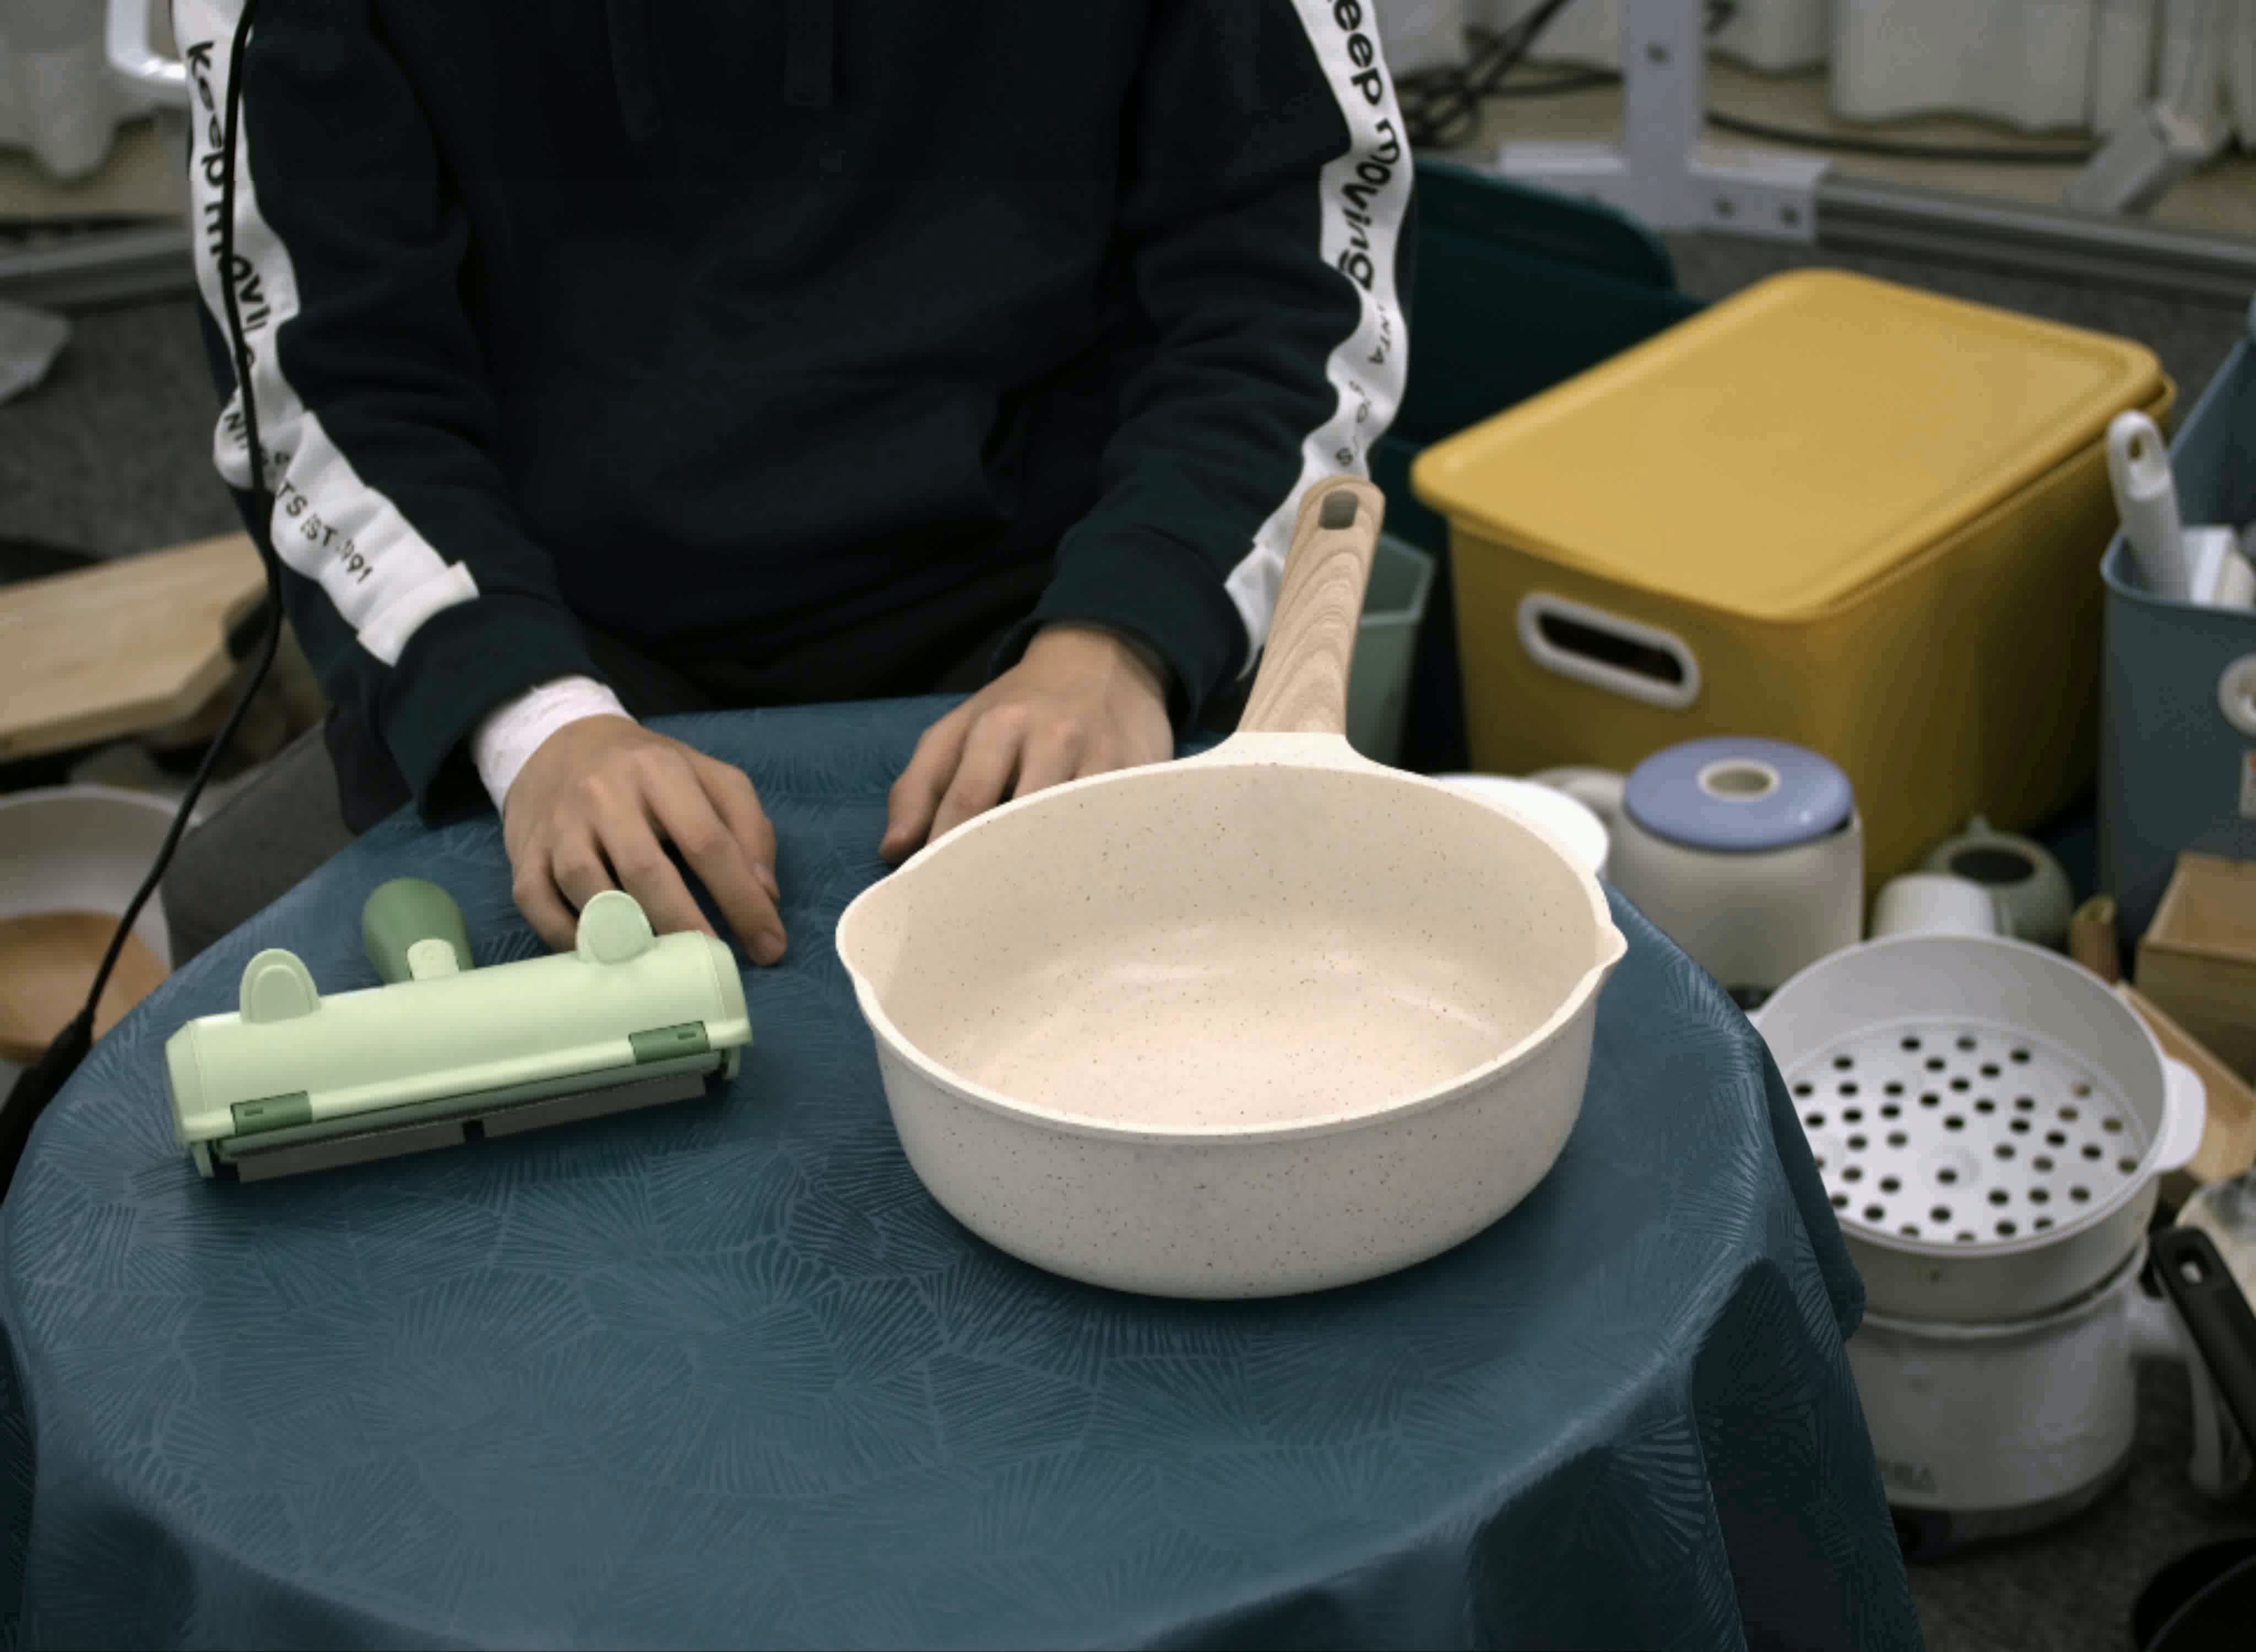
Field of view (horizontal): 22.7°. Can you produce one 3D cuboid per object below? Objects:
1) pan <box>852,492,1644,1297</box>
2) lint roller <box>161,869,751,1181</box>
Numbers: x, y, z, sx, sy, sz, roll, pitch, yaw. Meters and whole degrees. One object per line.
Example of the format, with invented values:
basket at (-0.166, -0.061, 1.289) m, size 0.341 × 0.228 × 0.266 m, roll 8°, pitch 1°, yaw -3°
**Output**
pan at (0.054, 0.021, 1.944) m, size 0.261 × 0.101 × 0.442 m, roll 0°, pitch 27°, yaw 9°
lint roller at (-0.243, 0.044, 1.953) m, size 0.198 × 0.081 × 0.185 m, roll -10°, pitch 33°, yaw -13°
